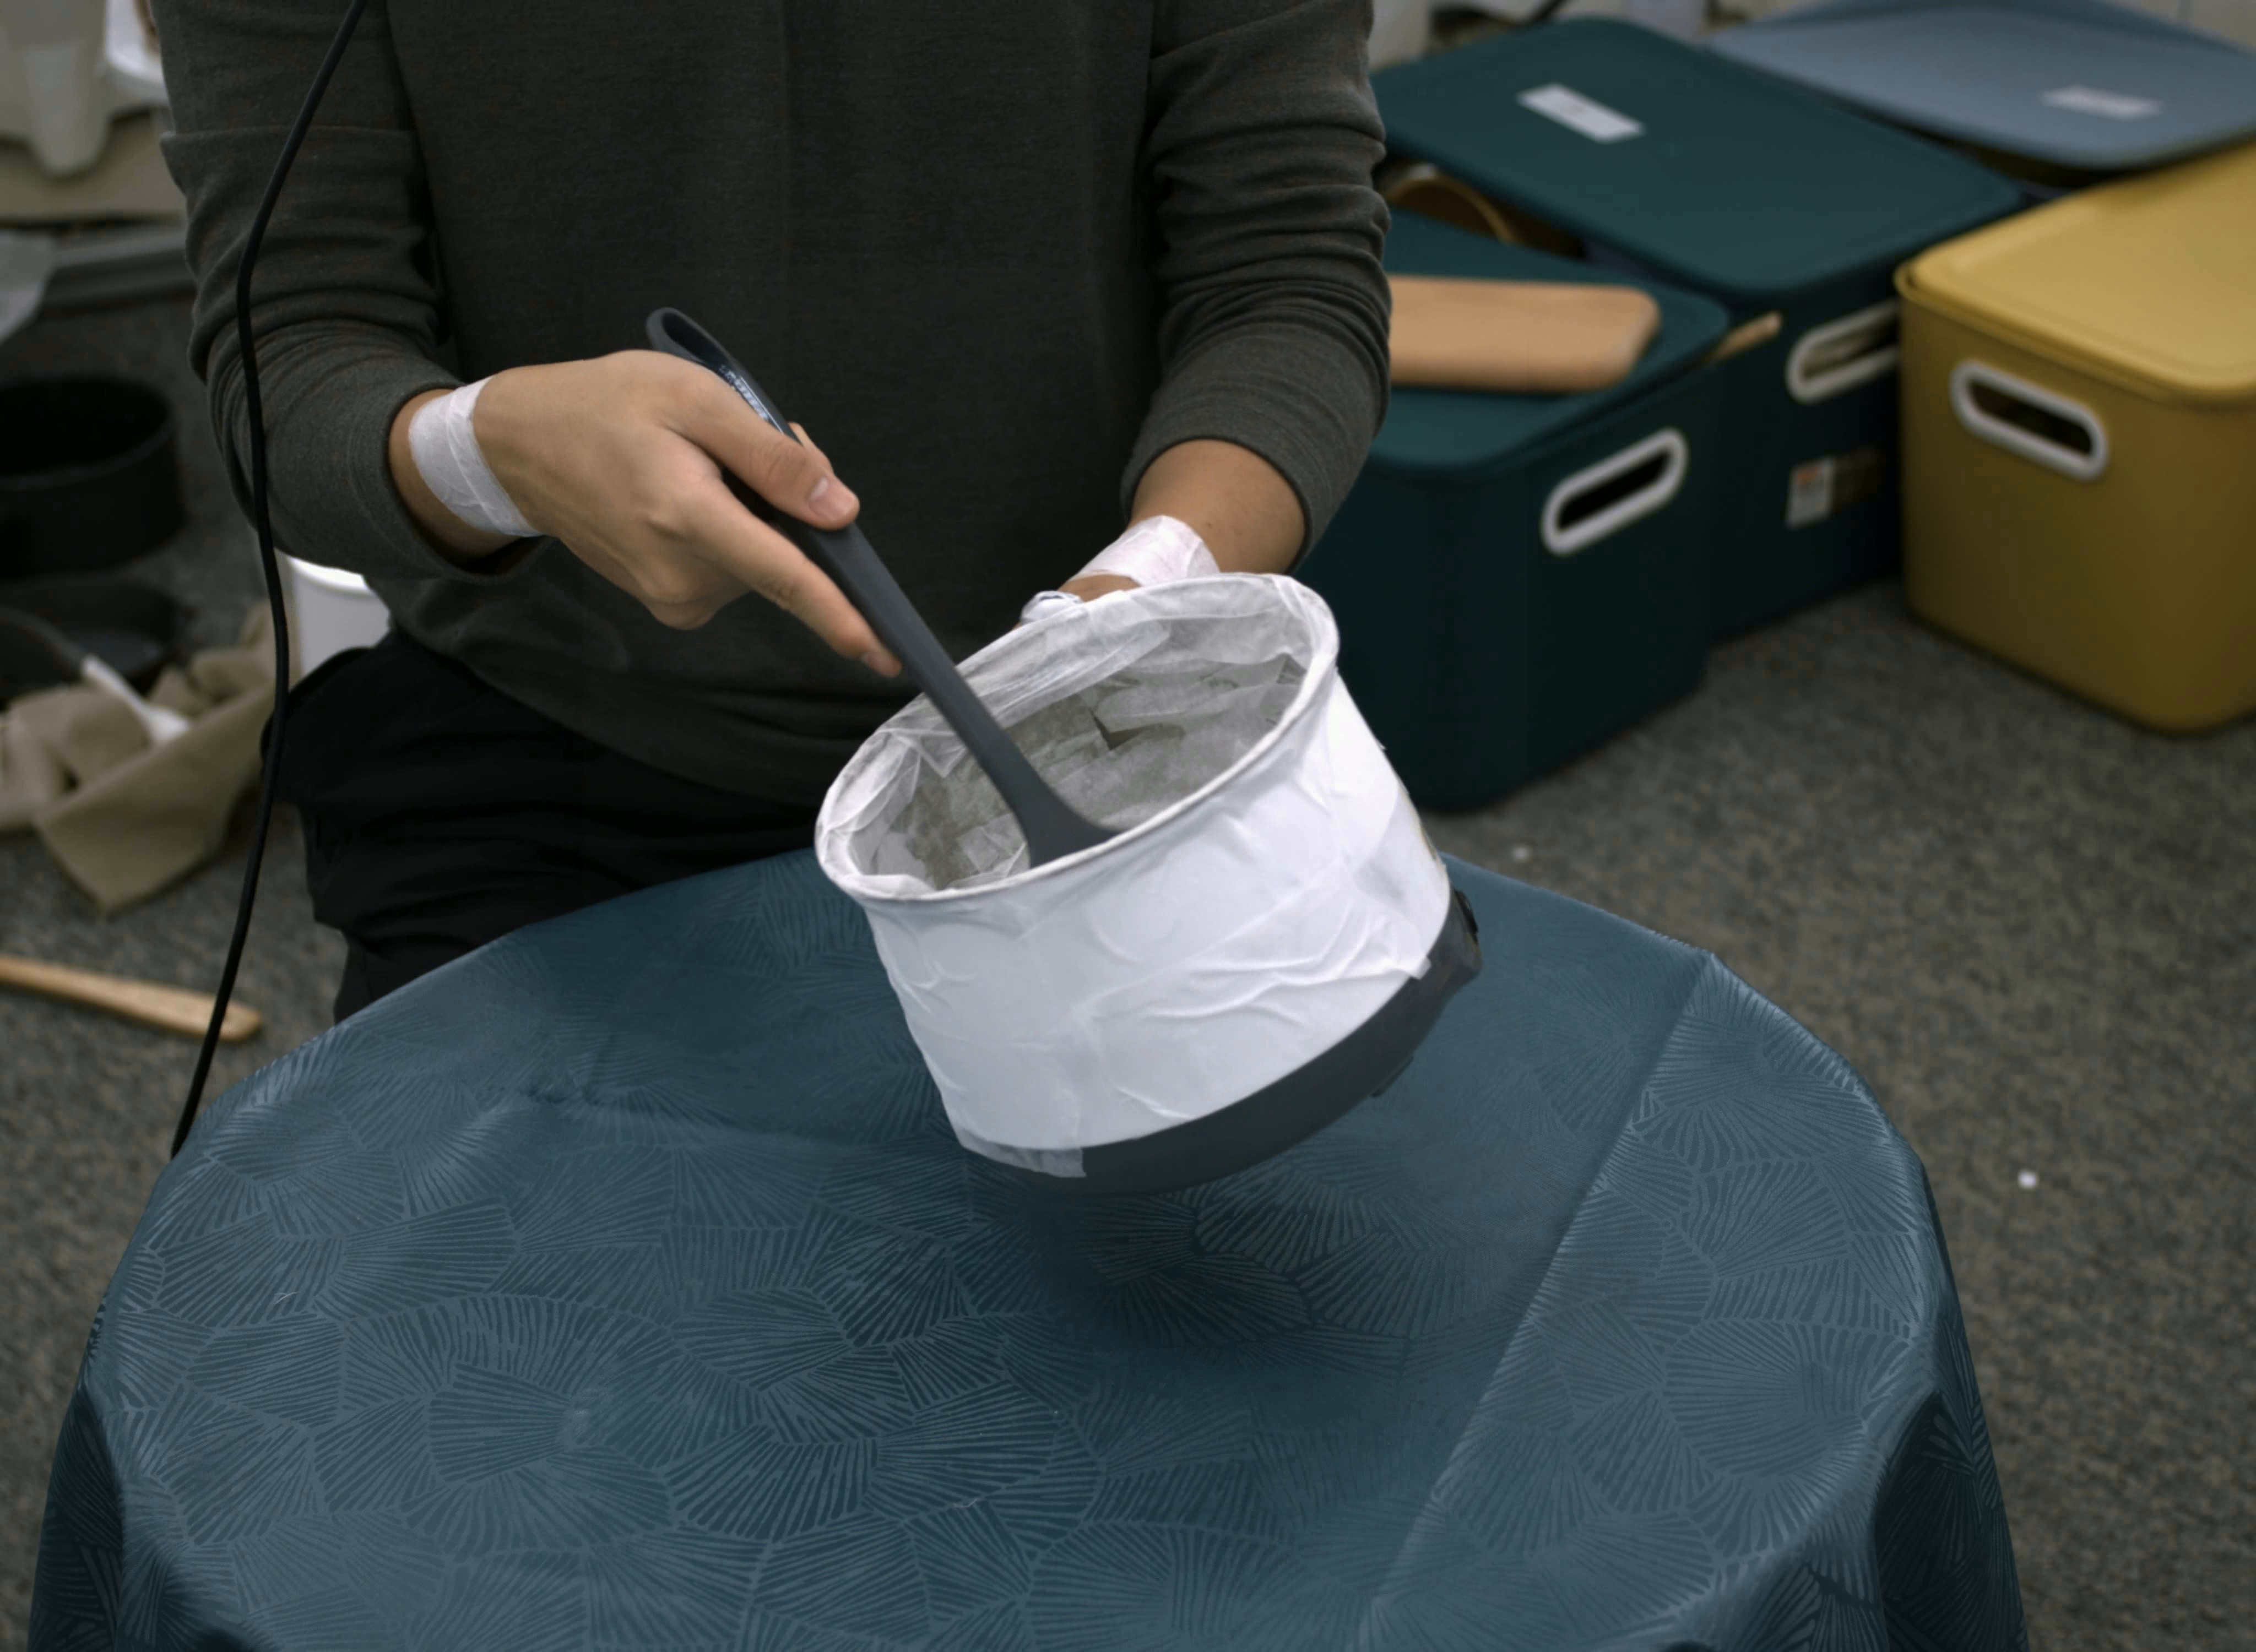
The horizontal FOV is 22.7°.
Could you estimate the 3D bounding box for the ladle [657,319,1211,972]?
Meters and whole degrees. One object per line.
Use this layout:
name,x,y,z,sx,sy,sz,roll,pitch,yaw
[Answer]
ladle,-0.066,-0.069,1.783,0.087,0.063,0.317,-21,58,-28

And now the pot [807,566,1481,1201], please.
pot,0.003,0.009,1.790,0.178,0.135,0.236,-24,24,3
